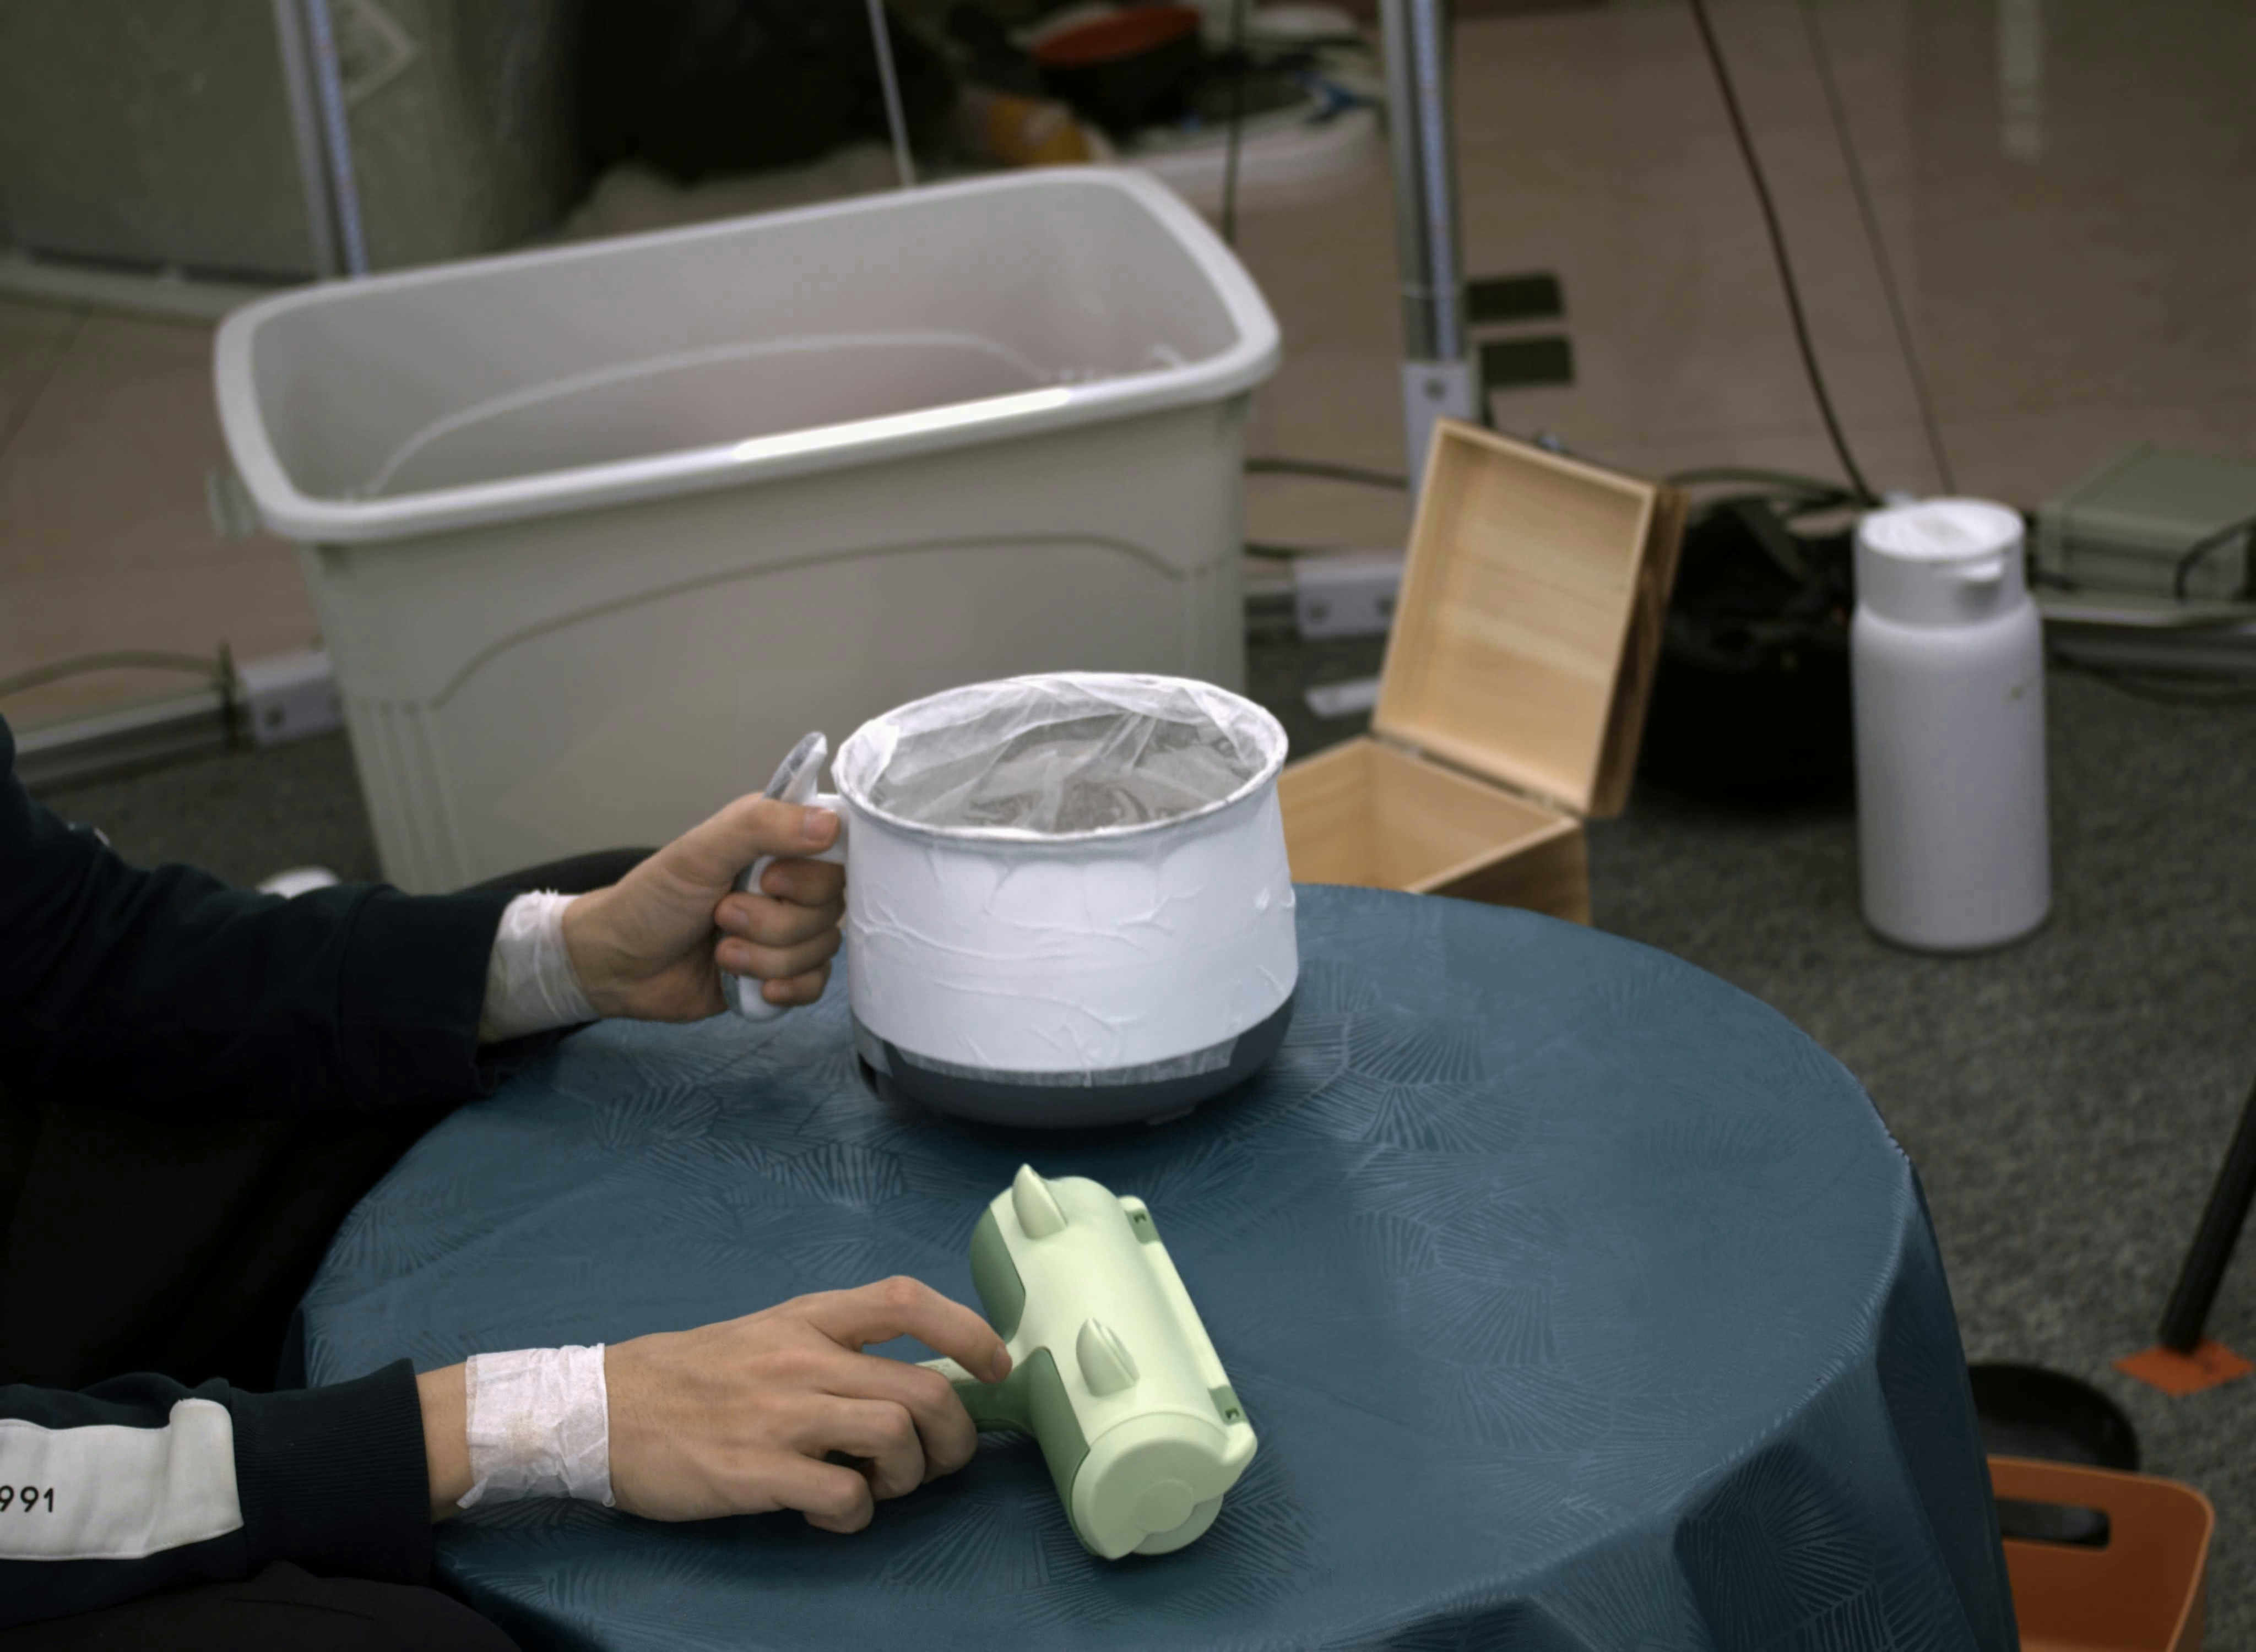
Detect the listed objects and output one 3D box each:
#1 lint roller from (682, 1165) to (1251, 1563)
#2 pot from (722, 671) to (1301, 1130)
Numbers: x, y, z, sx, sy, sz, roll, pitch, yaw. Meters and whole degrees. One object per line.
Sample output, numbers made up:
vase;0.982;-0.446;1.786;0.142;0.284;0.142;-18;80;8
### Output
lint roller;-0.065;0.186;1.965;0.183;0.083;0.196;-6;25;-9
pot;-0.048;0.029;2.214;0.233;0.138;0.176;3;23;12
